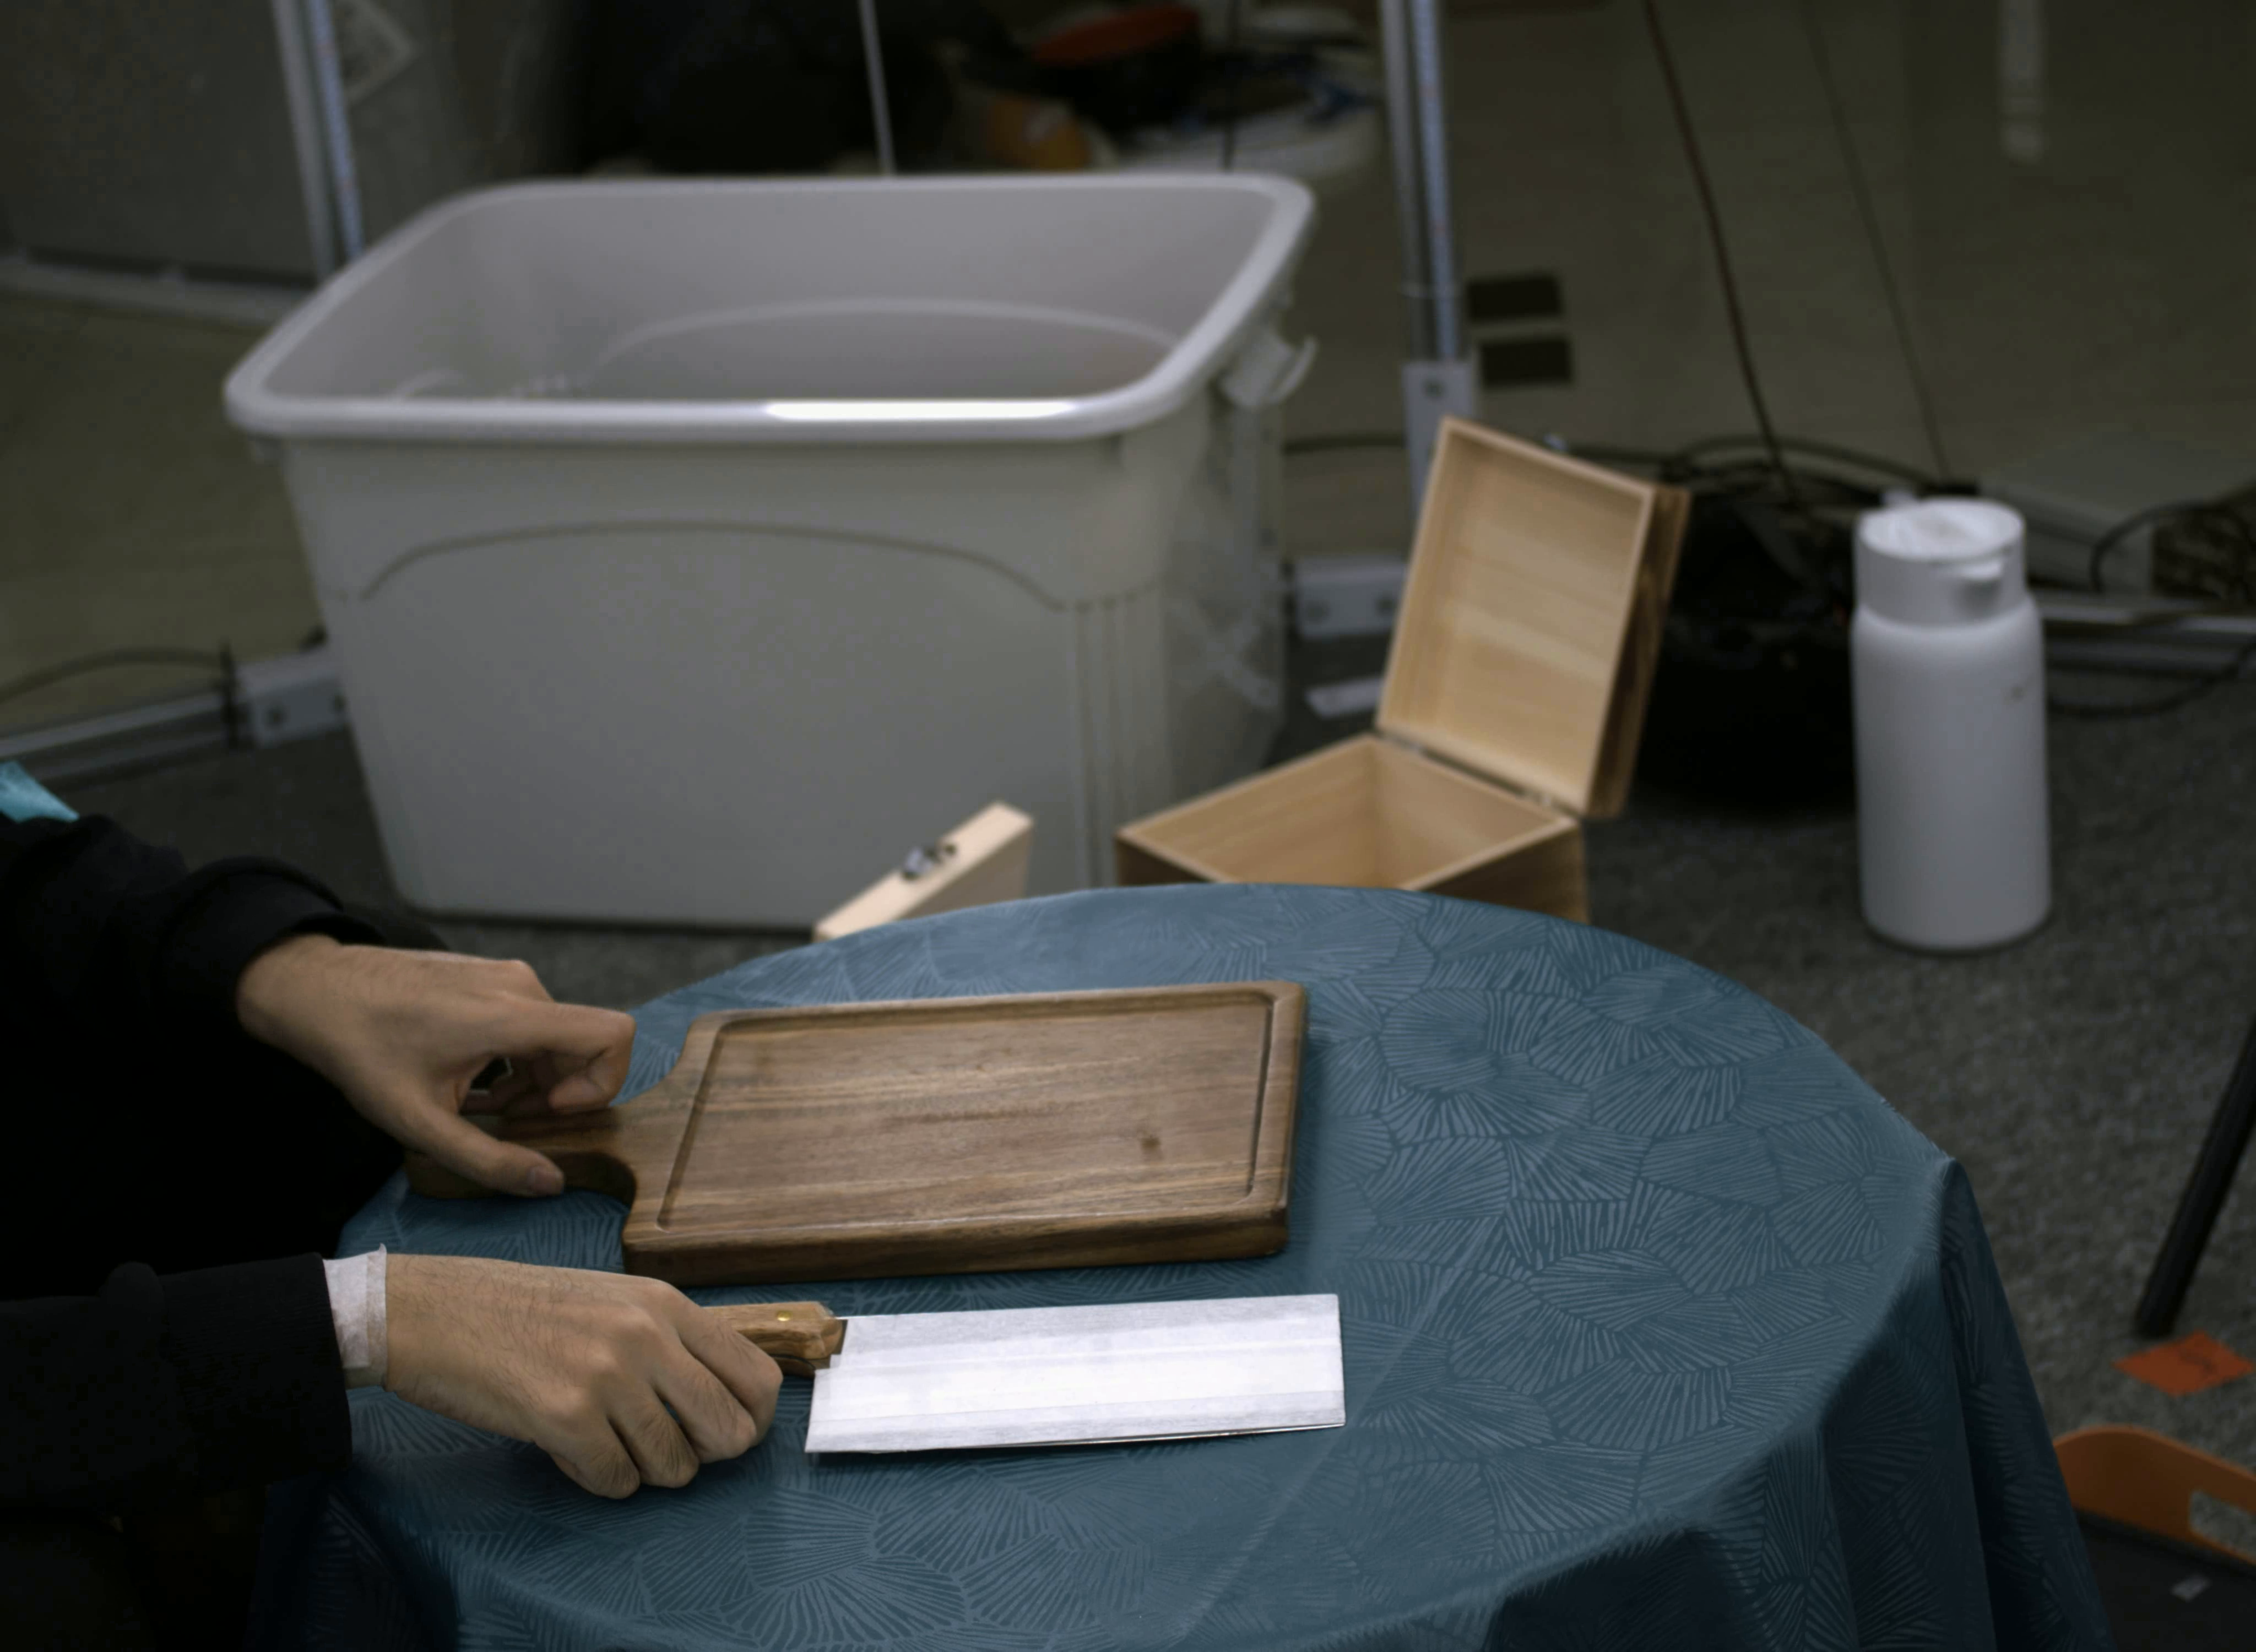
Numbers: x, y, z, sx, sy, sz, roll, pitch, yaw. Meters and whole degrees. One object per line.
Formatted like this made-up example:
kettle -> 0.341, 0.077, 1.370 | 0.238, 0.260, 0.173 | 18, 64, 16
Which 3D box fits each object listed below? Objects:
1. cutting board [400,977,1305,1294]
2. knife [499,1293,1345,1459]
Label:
cutting board -> -0.107, 0.120, 2.189 | 0.351, 0.023, 0.198 | -4, 25, 6
knife -> -0.076, 0.197, 2.024 | 0.305, 0.021, 0.091 | -3, 27, 2
